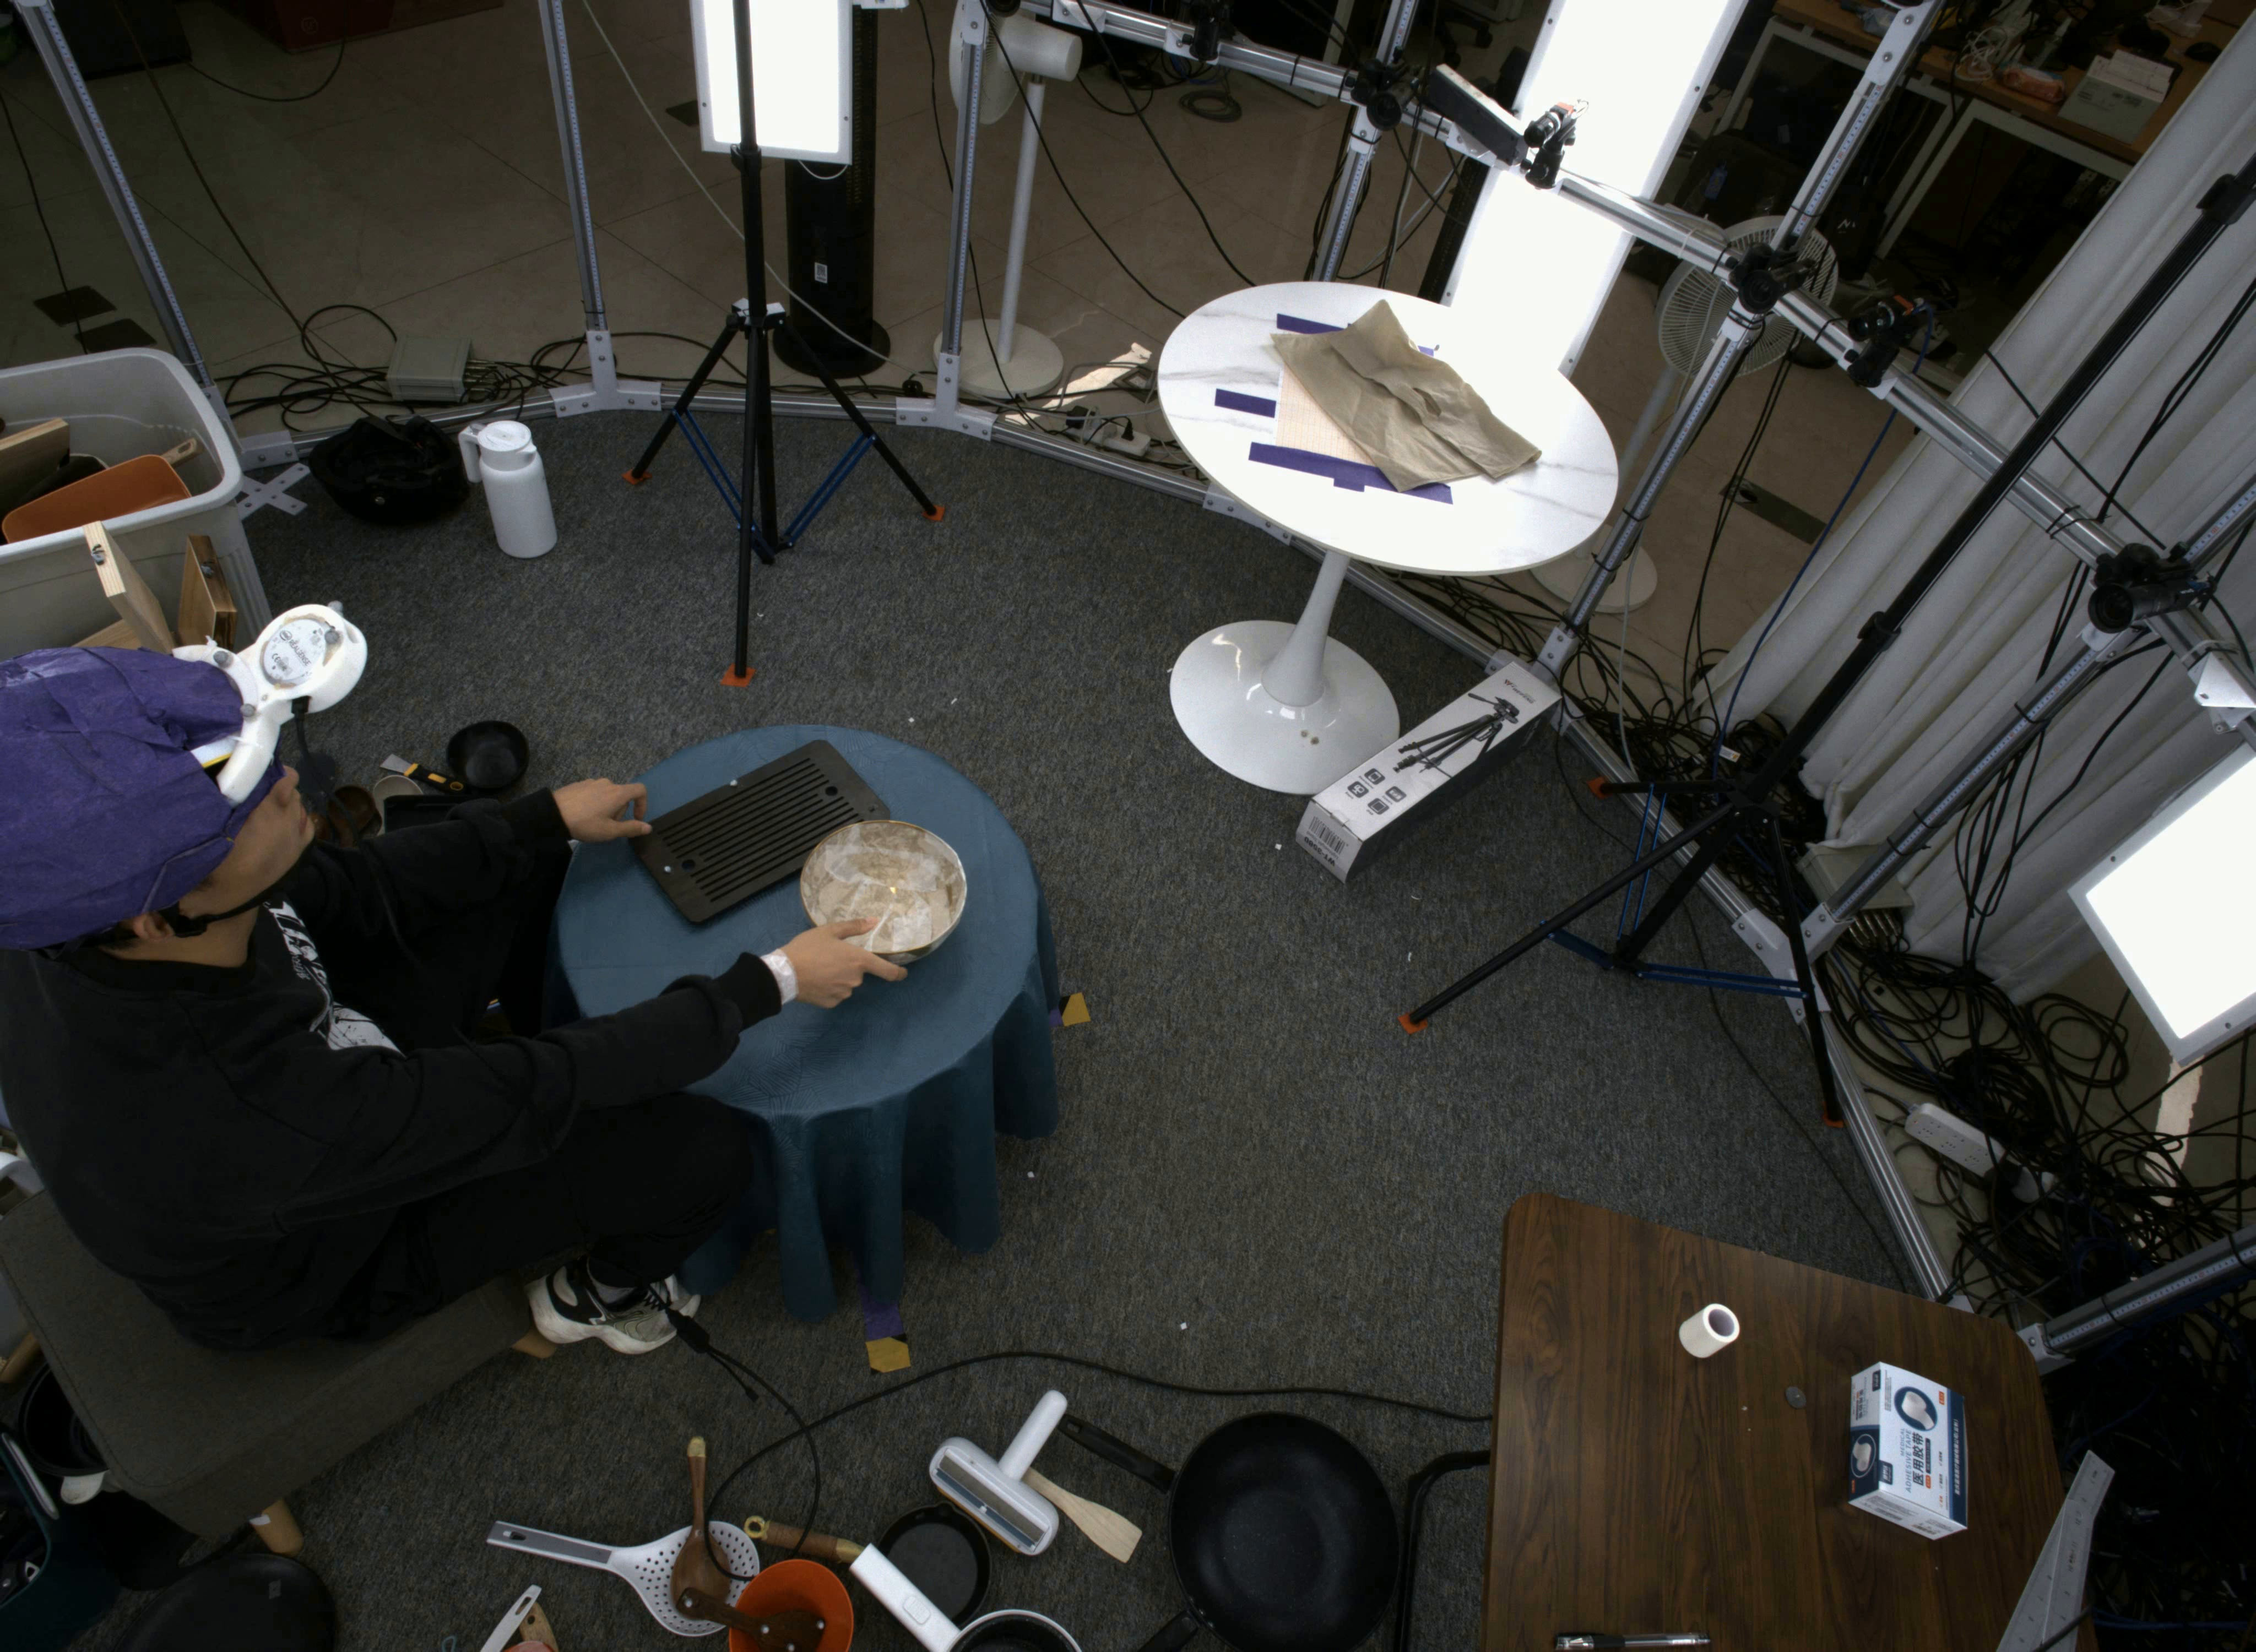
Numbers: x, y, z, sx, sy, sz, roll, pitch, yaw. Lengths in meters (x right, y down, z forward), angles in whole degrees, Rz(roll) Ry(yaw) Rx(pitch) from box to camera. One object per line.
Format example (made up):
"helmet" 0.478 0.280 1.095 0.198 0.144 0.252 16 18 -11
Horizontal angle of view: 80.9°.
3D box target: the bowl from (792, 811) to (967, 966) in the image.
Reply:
"bowl" -0.311 0.094 1.629 0.214 0.096 0.211 8 54 -9

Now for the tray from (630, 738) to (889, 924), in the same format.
"tray" -0.482 0.001 1.702 0.307 0.019 0.166 -32 67 -31
